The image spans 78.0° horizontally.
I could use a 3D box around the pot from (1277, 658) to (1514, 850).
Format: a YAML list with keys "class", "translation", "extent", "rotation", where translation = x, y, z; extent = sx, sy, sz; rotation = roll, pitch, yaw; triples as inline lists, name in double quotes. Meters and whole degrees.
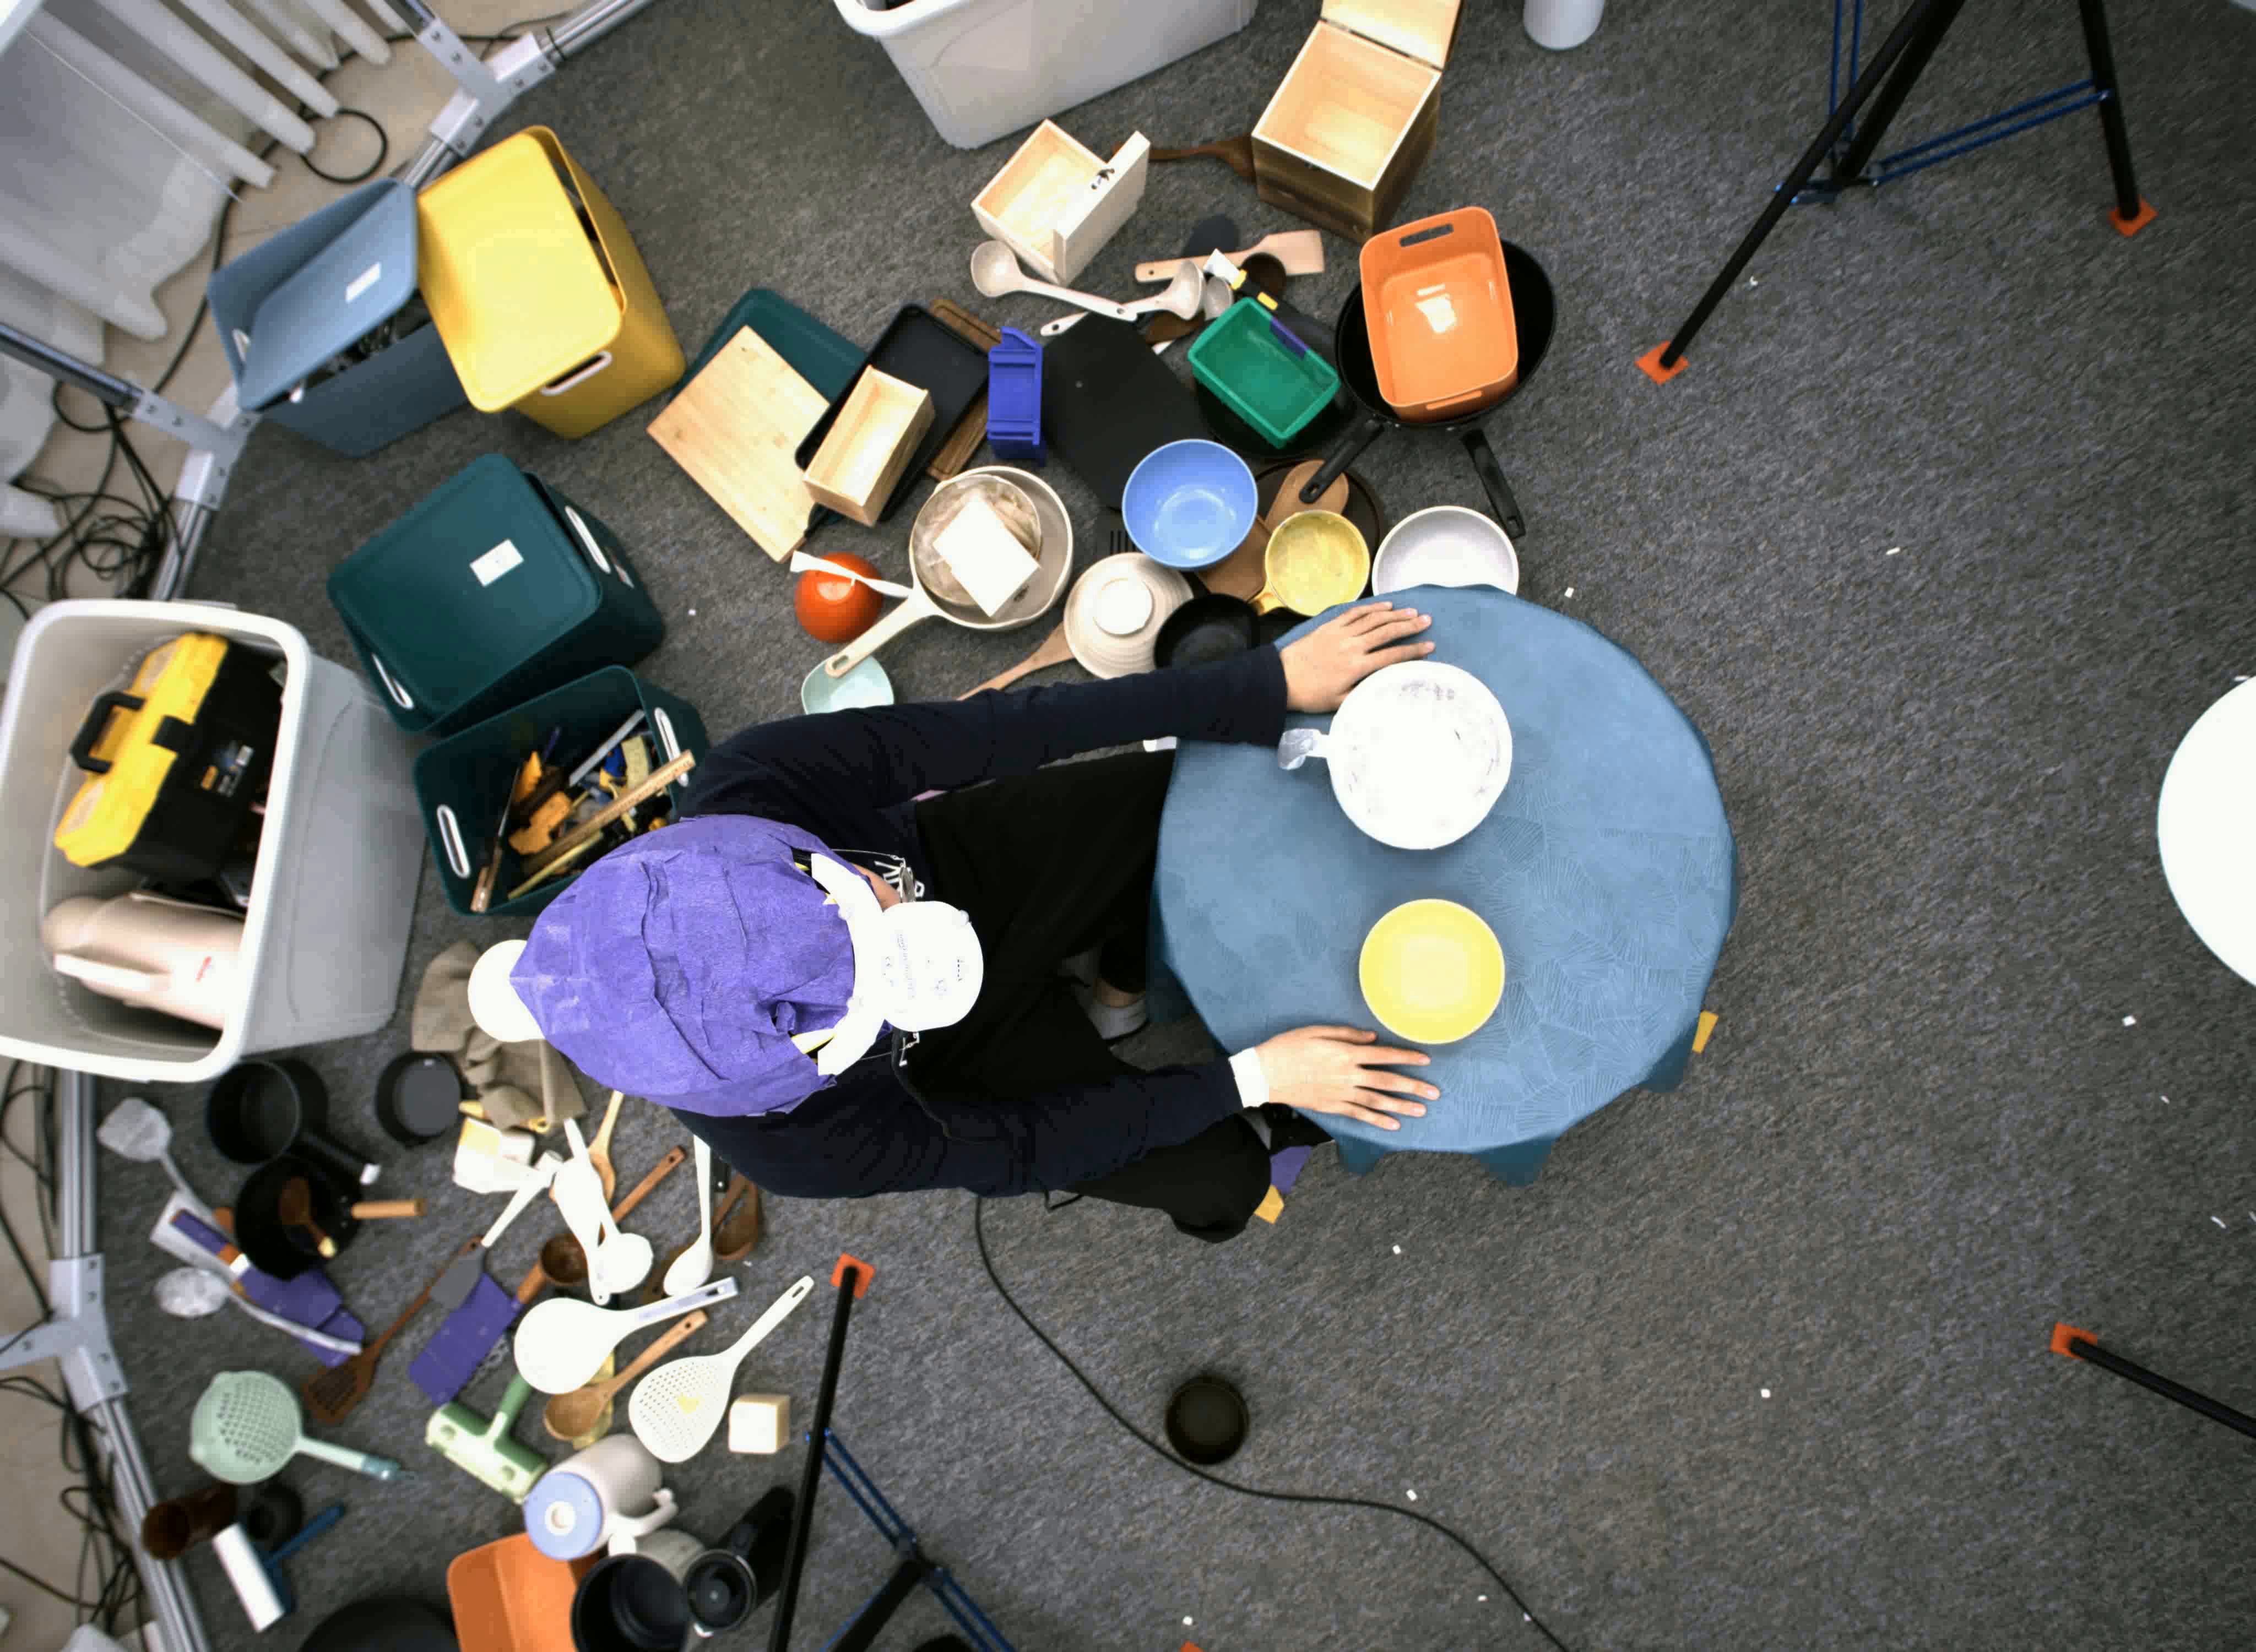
- class: "pot"
  translation: [0.266, -0.071, 1.399]
  extent: [0.234, 0.137, 0.177]
  rotation: [5, 84, 10]

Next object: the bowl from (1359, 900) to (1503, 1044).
- class: "bowl"
  translation: [0.309, 0.148, 1.417]
  extent: [0.146, 0.060, 0.144]
  rotation: [-1, 85, 10]
